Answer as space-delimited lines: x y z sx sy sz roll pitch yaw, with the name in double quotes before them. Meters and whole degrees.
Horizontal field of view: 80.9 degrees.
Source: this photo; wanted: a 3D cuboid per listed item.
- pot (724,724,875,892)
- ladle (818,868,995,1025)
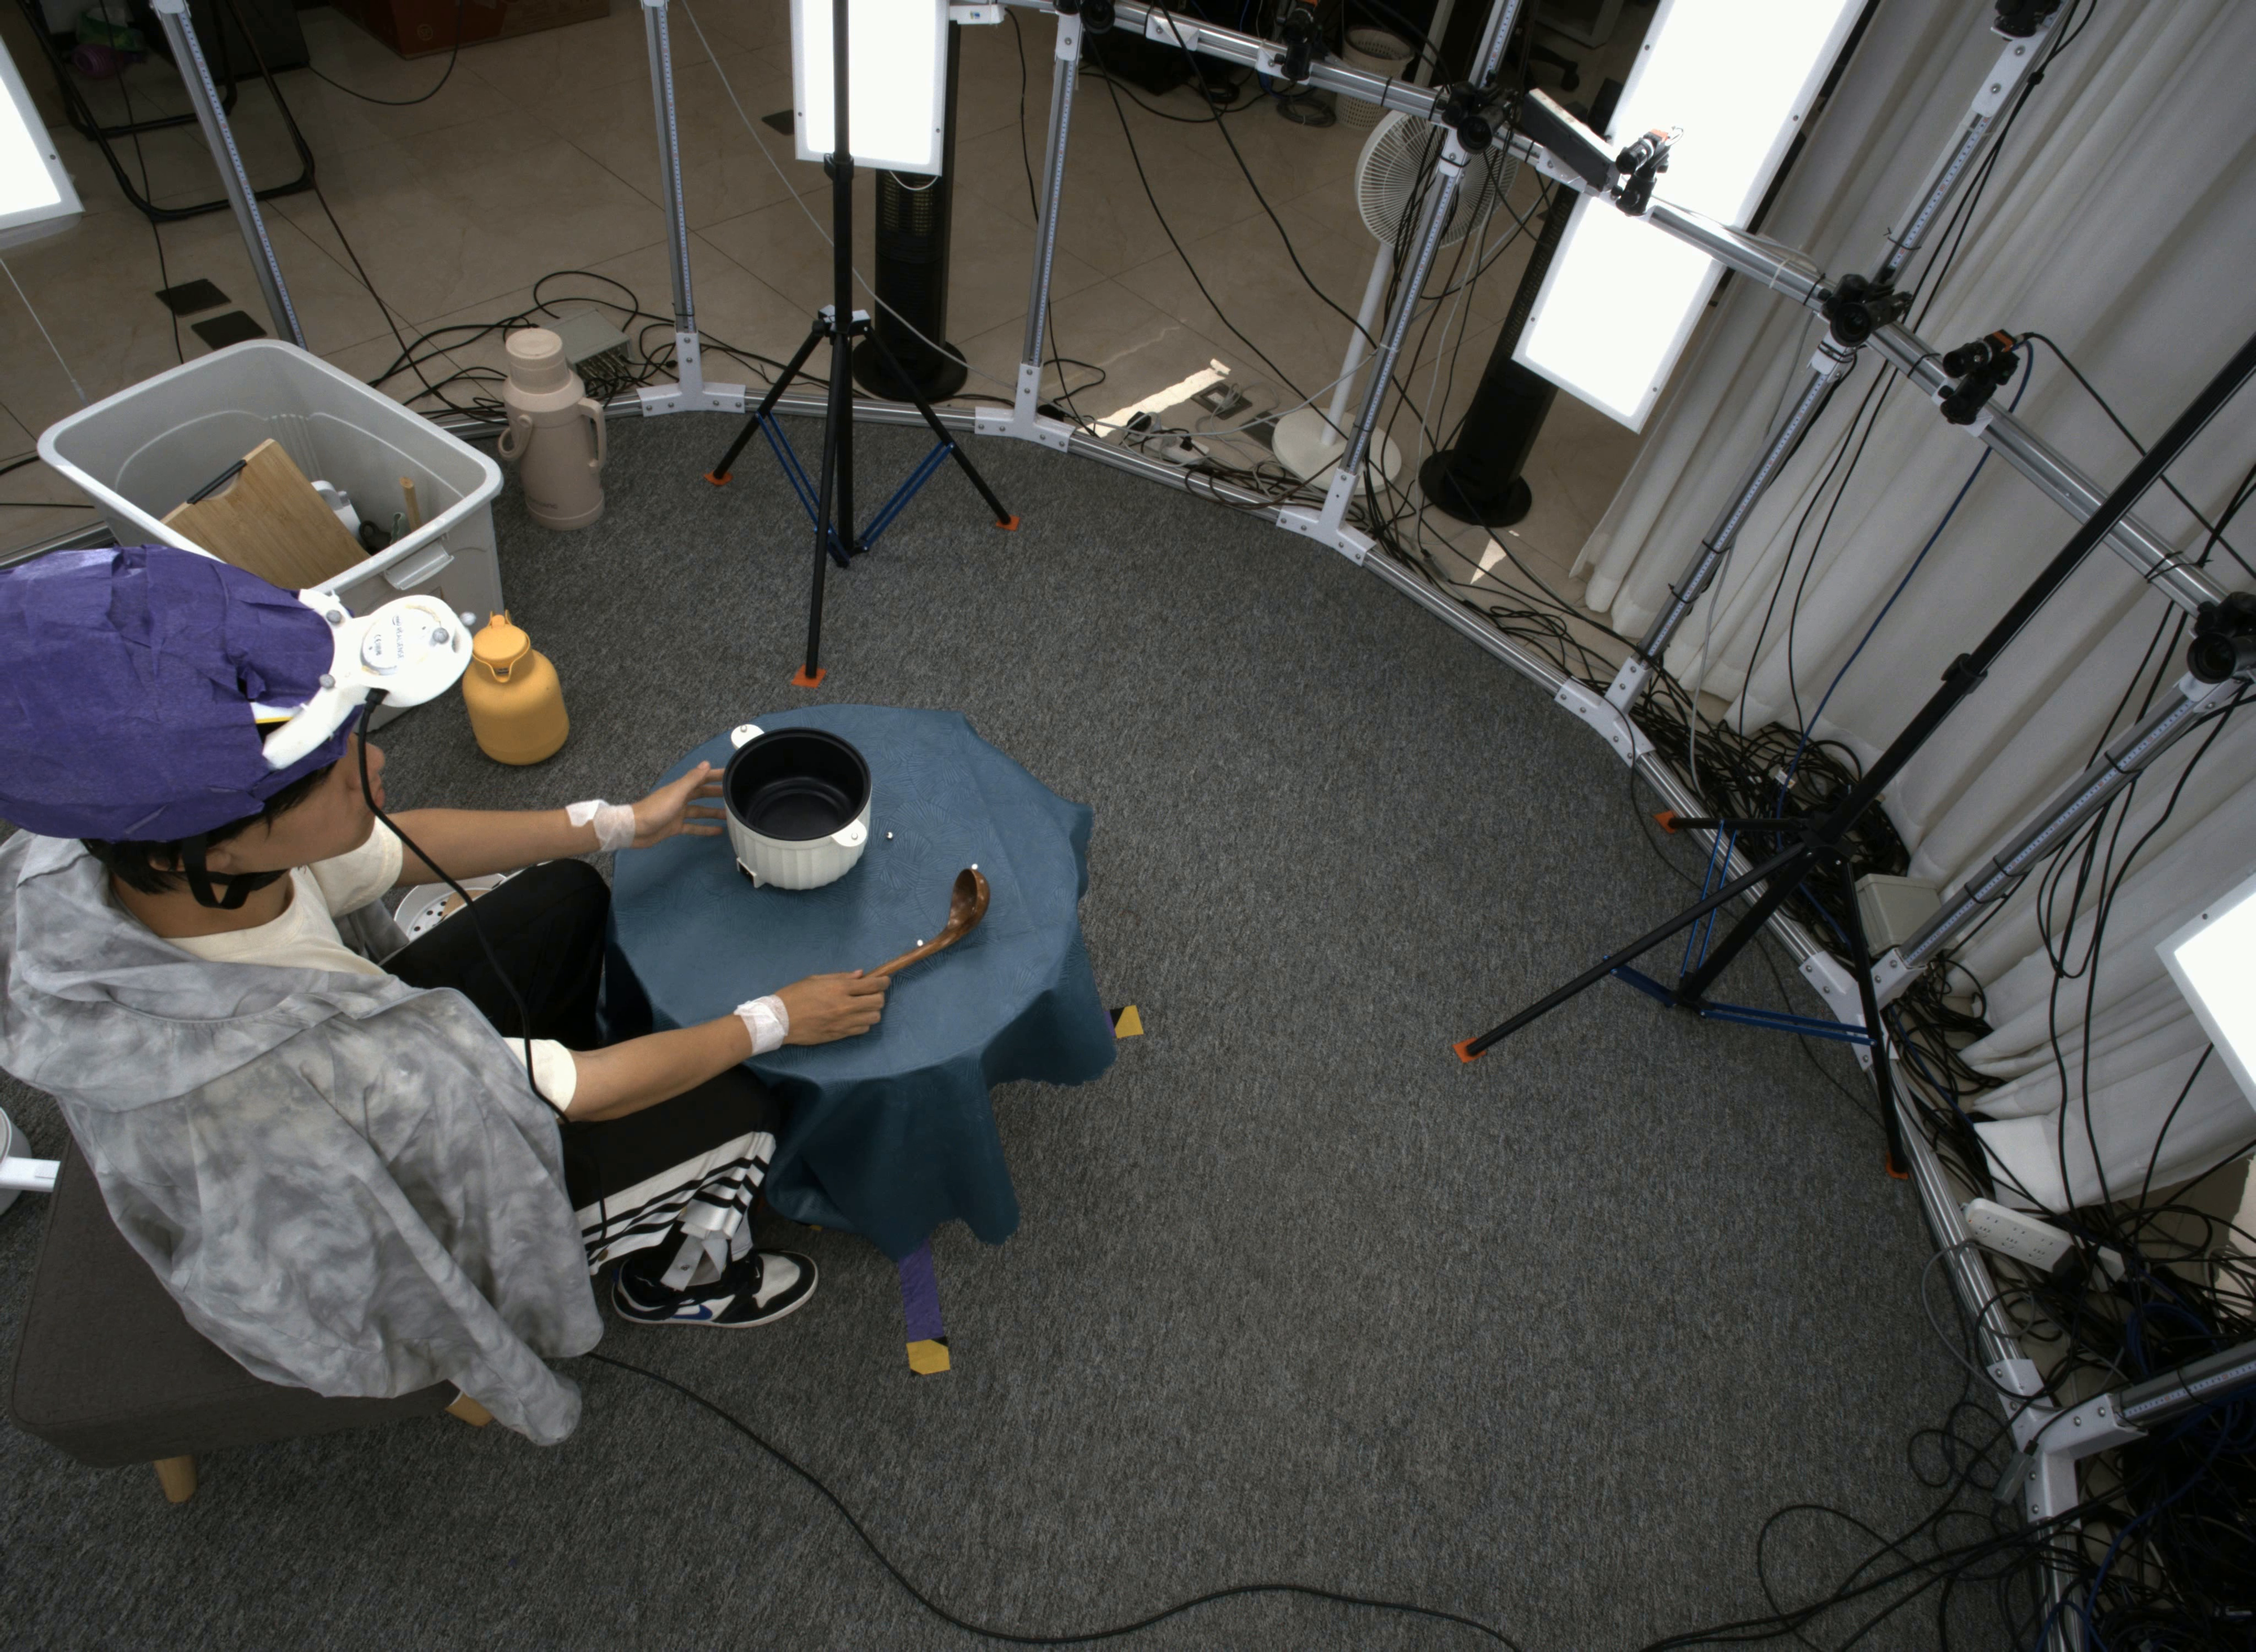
"pot" -0.410 -0.019 1.654 0.235 0.145 0.190 41 59 16
"ladle" -0.277 0.142 1.611 0.275 0.080 0.078 -30 101 -28
